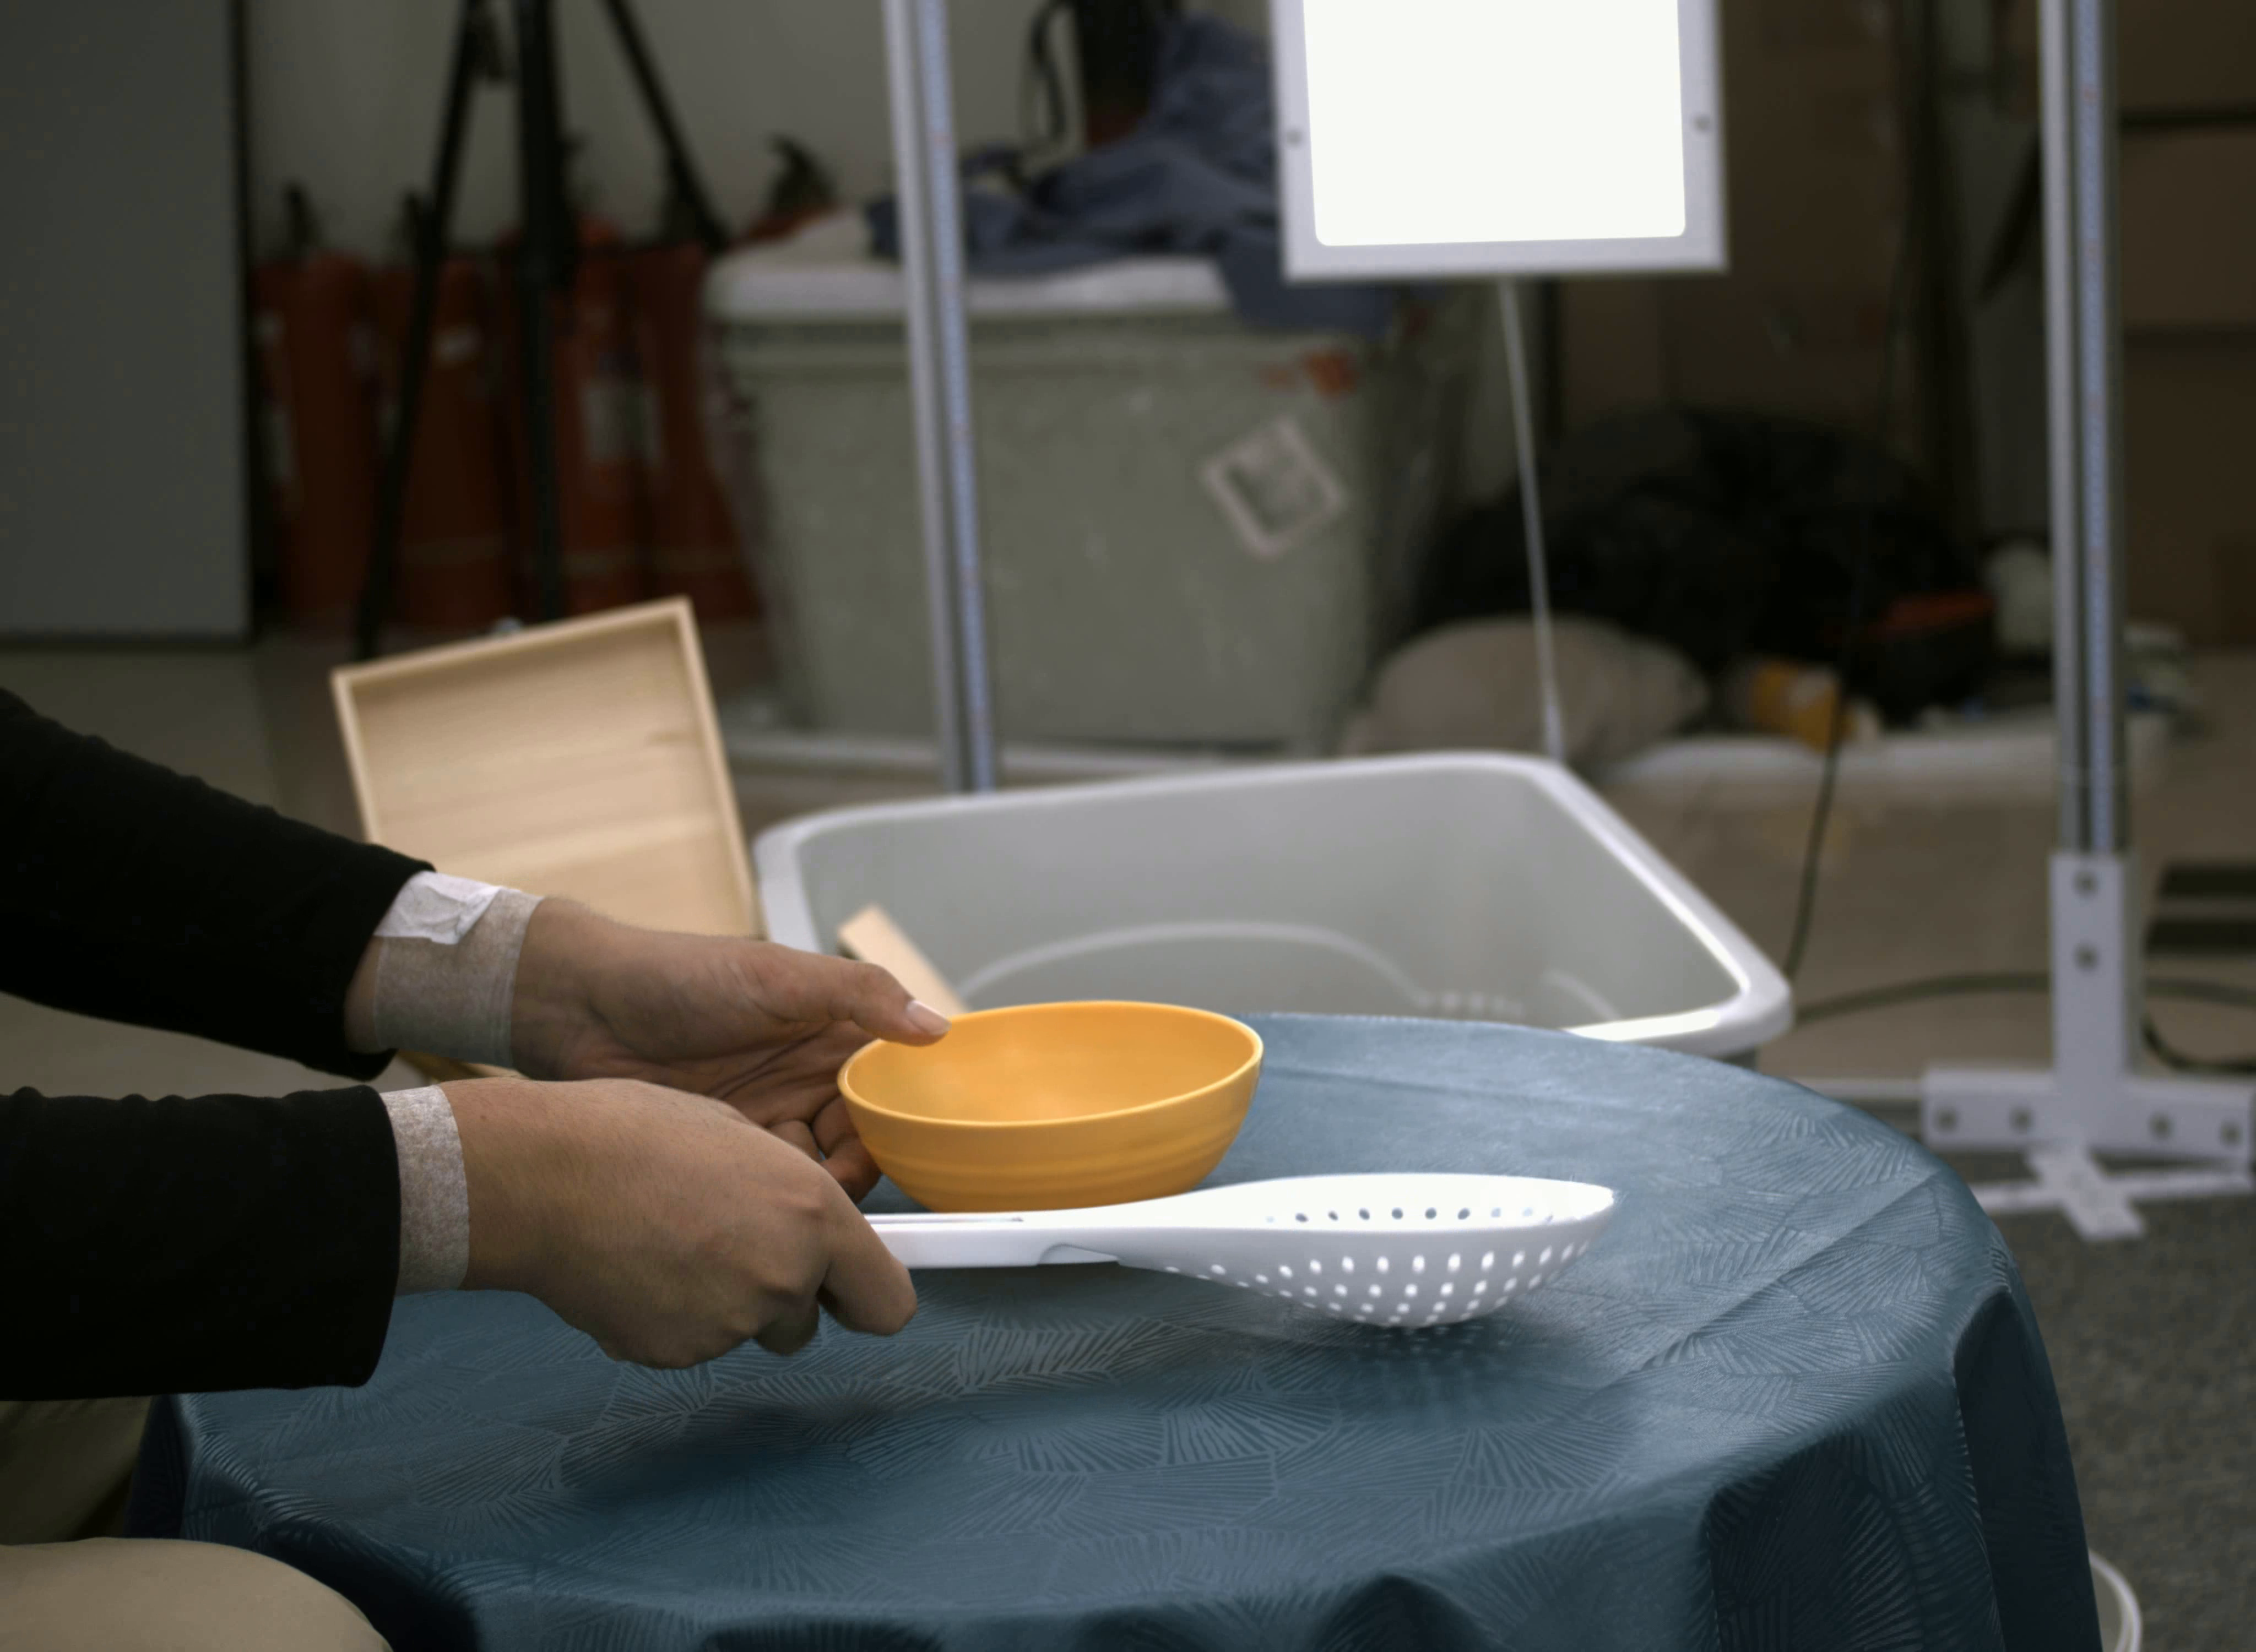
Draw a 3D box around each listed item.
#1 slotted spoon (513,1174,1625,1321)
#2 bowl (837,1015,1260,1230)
[{"bbox_3d":[-0.016,0.127,1.717,0.346,0.046,0.137,3,0,-9],"label":"slotted spoon"},{"bbox_3d":[-0.025,0.108,1.863,0.145,0.060,0.145,-4,12,0],"label":"bowl"}]
